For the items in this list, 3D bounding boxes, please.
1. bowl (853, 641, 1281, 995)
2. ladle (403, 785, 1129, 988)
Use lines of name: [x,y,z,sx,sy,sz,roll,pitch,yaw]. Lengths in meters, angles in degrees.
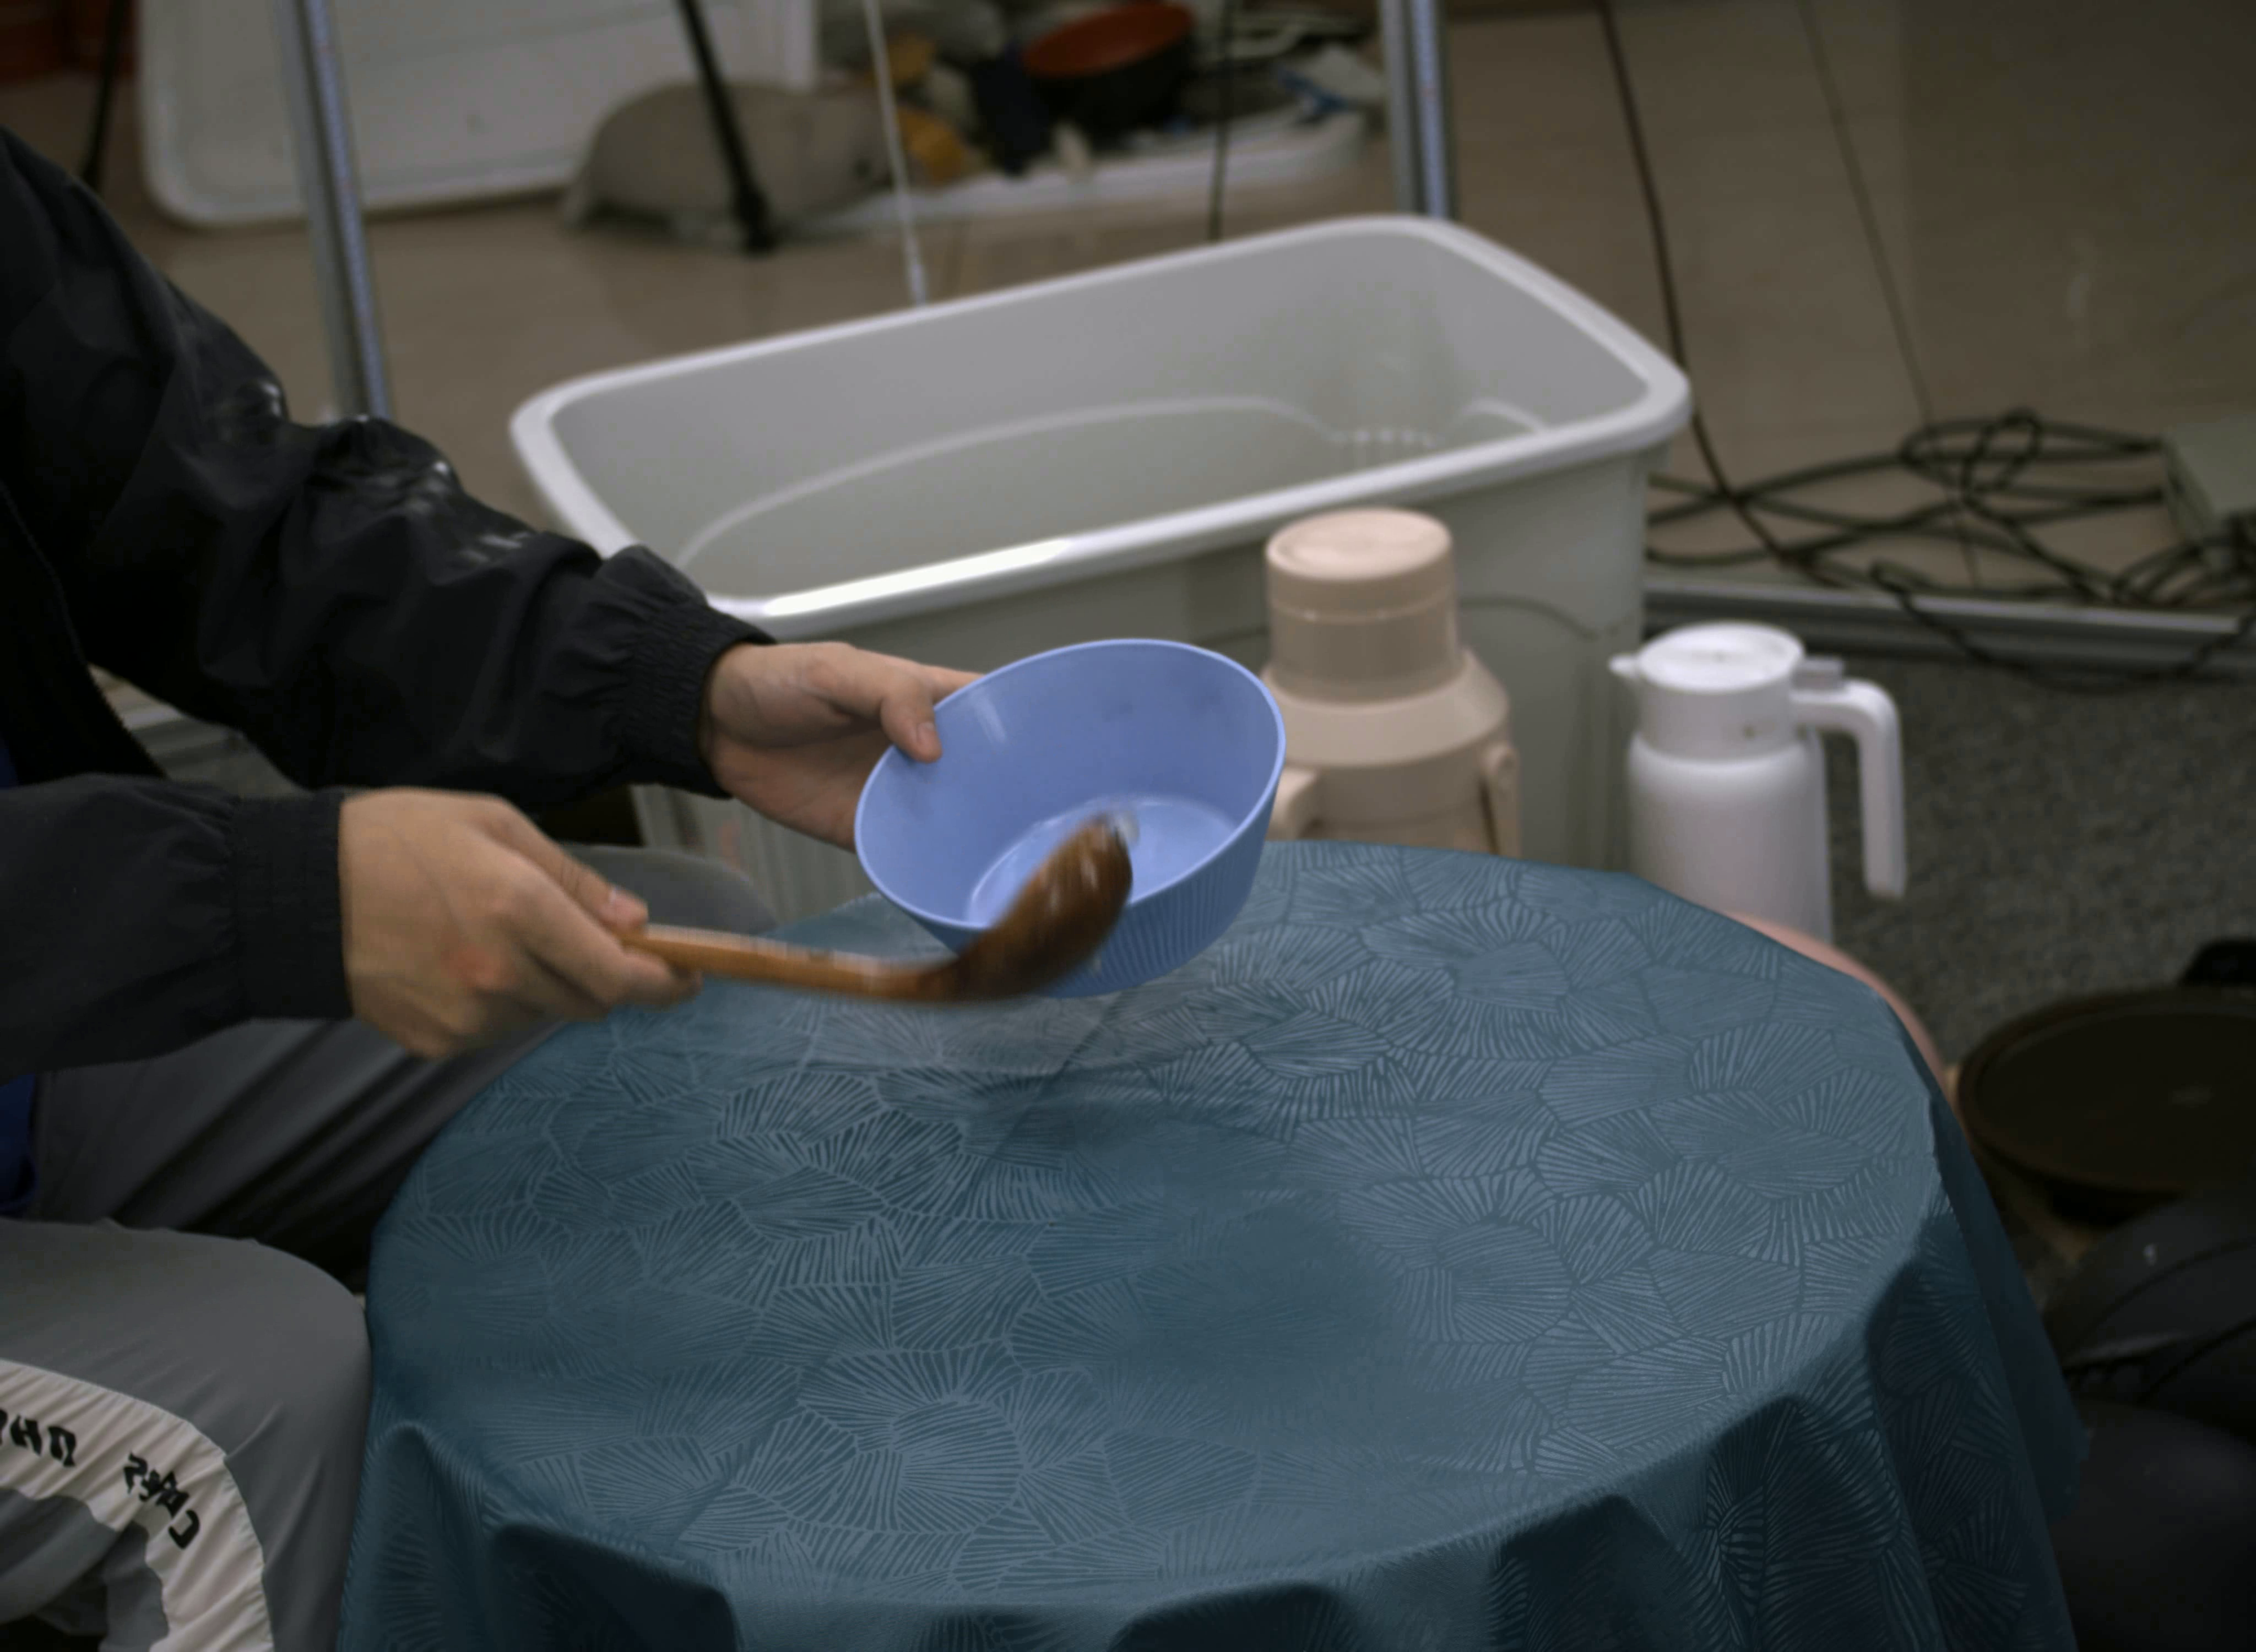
bowl: [-0.017,0.006,2.241,0.176,0.071,0.173,-12,38,10]
ladle: [-0.134,0.015,2.061,0.273,0.076,0.082,4,-2,15]
